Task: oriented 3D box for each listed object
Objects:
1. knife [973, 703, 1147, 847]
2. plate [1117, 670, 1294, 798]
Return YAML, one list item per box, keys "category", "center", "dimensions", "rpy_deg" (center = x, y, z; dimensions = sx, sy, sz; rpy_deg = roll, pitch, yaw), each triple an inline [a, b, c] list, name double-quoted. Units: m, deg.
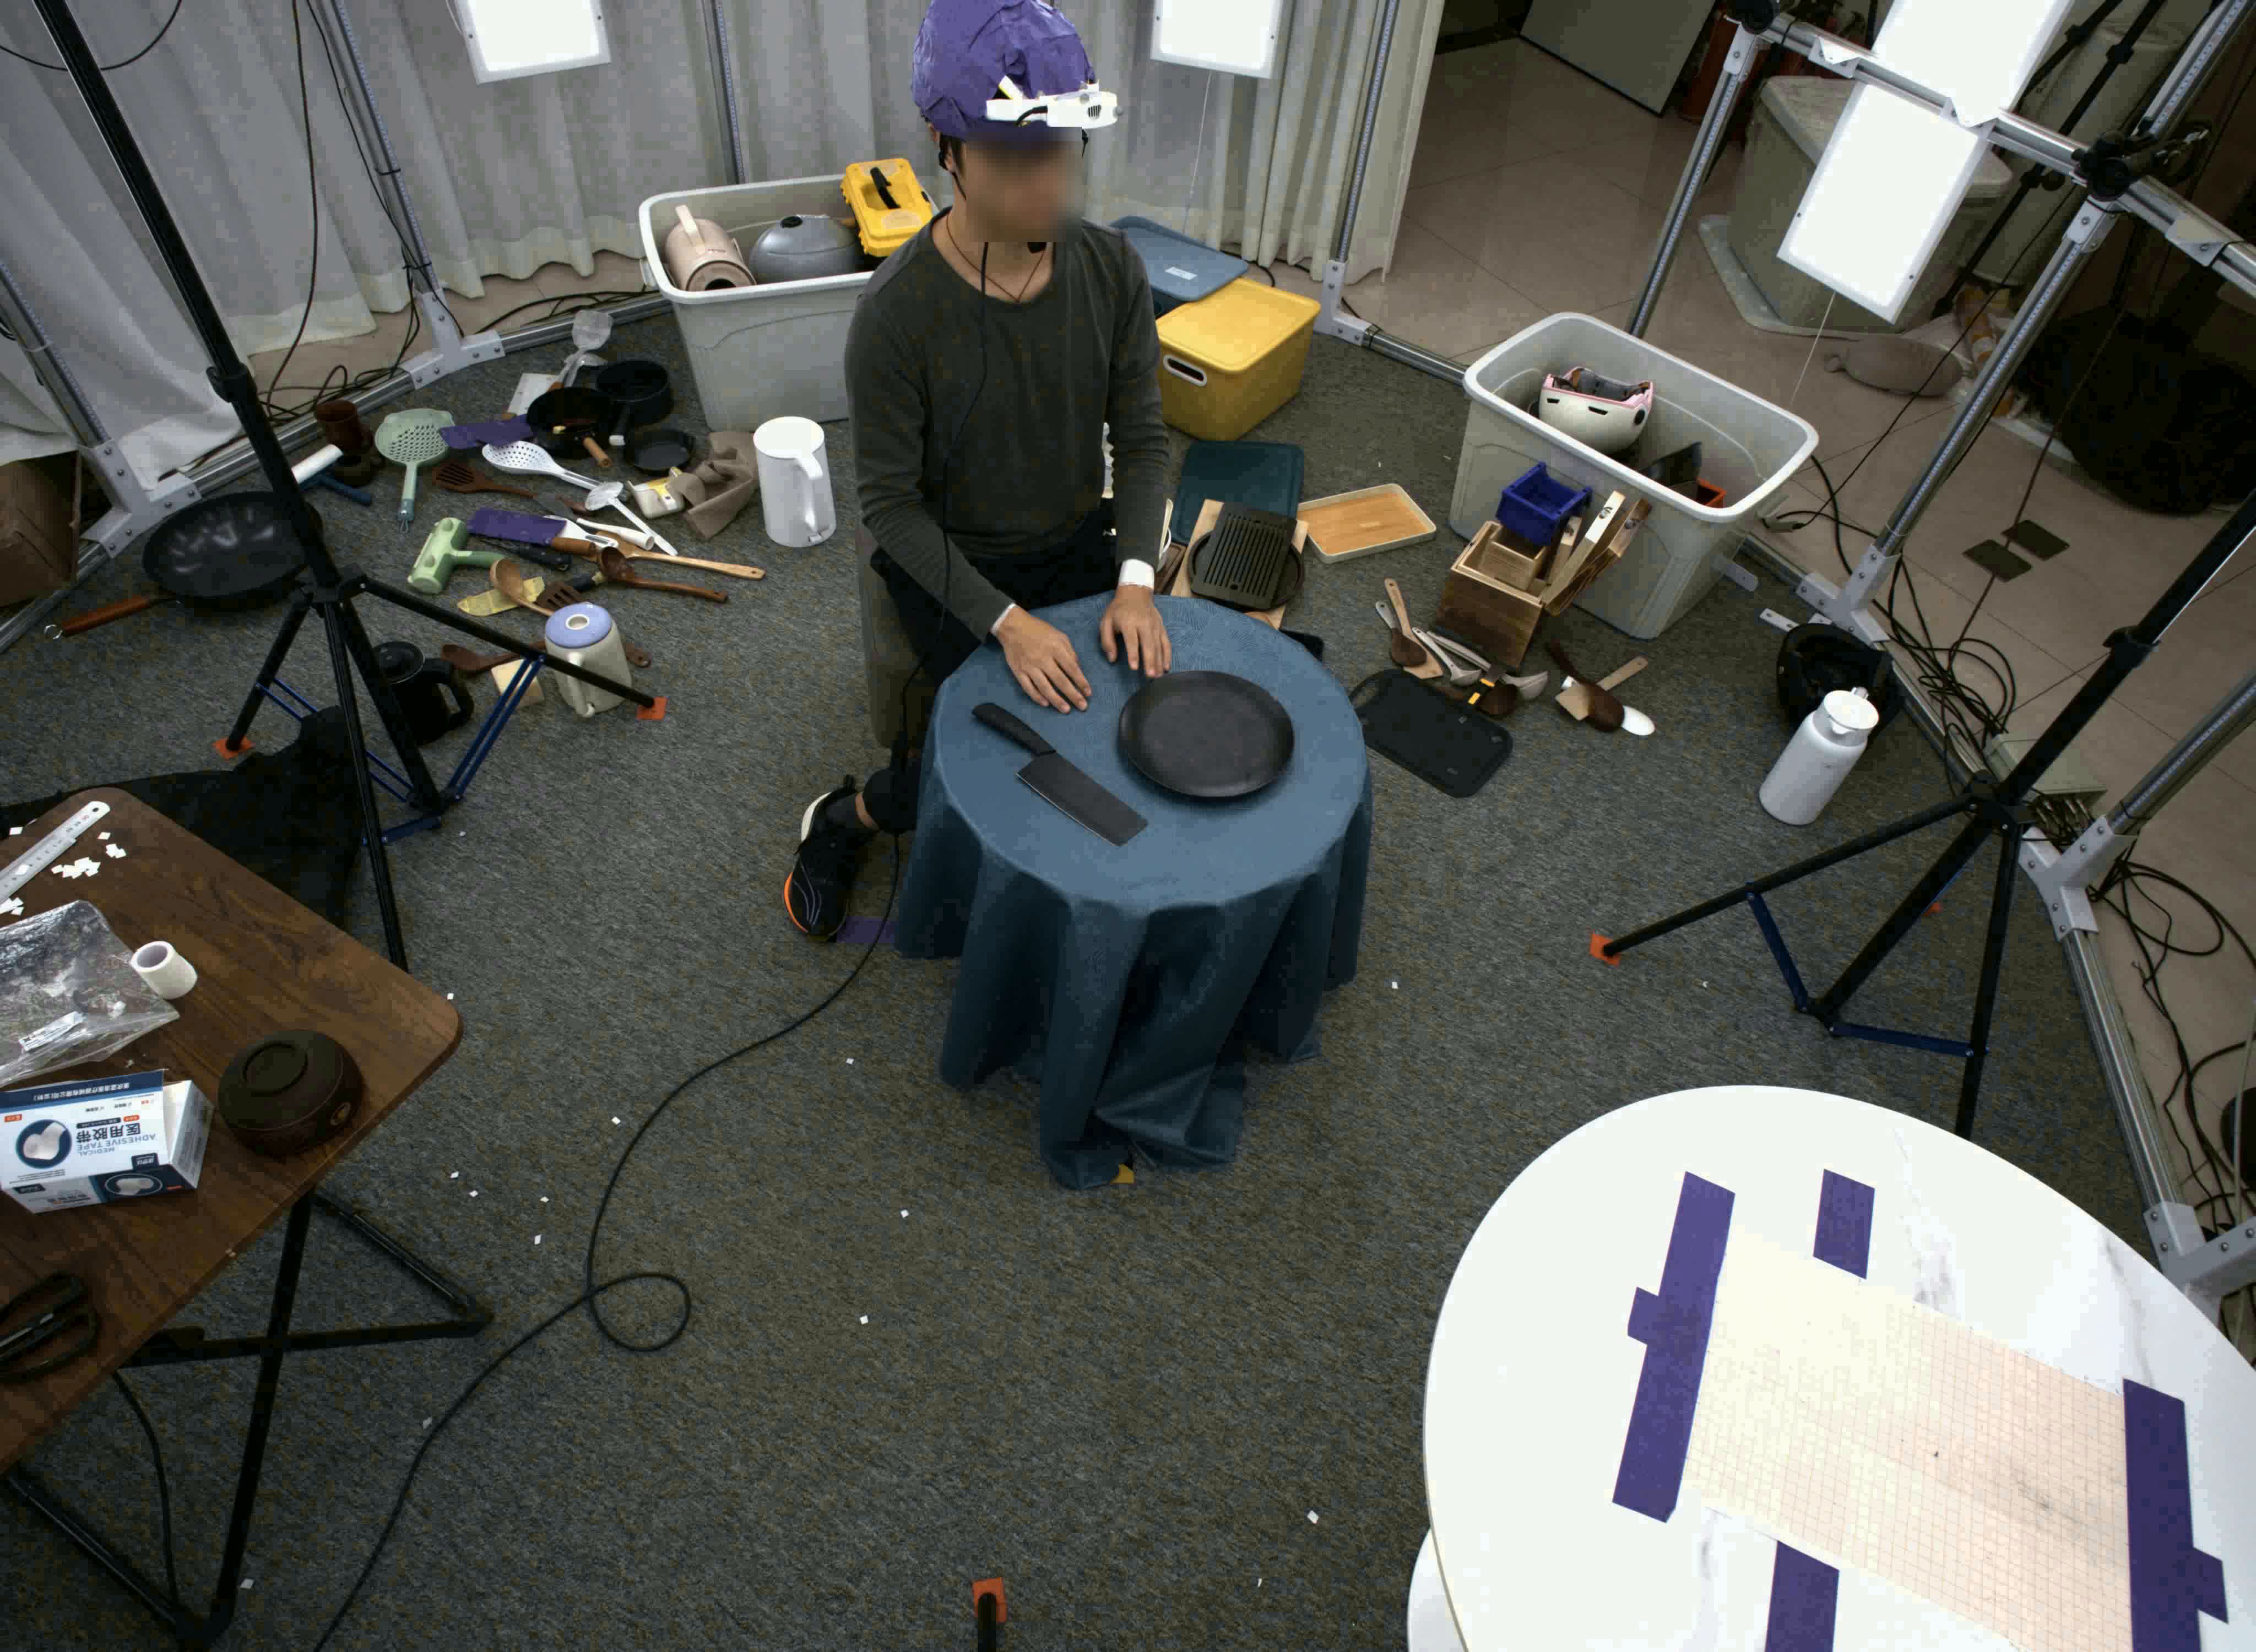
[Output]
- category: "knife"
  center: [-0.101, -0.073, 1.715]
  dimensions: [0.081, 0.020, 0.307]
  rpy_deg: [-34, 61, -27]
- category: "plate"
  center: [0.107, -0.125, 1.768]
  dimensions: [0.244, 0.023, 0.250]
  rpy_deg: [2, 49, -2]
